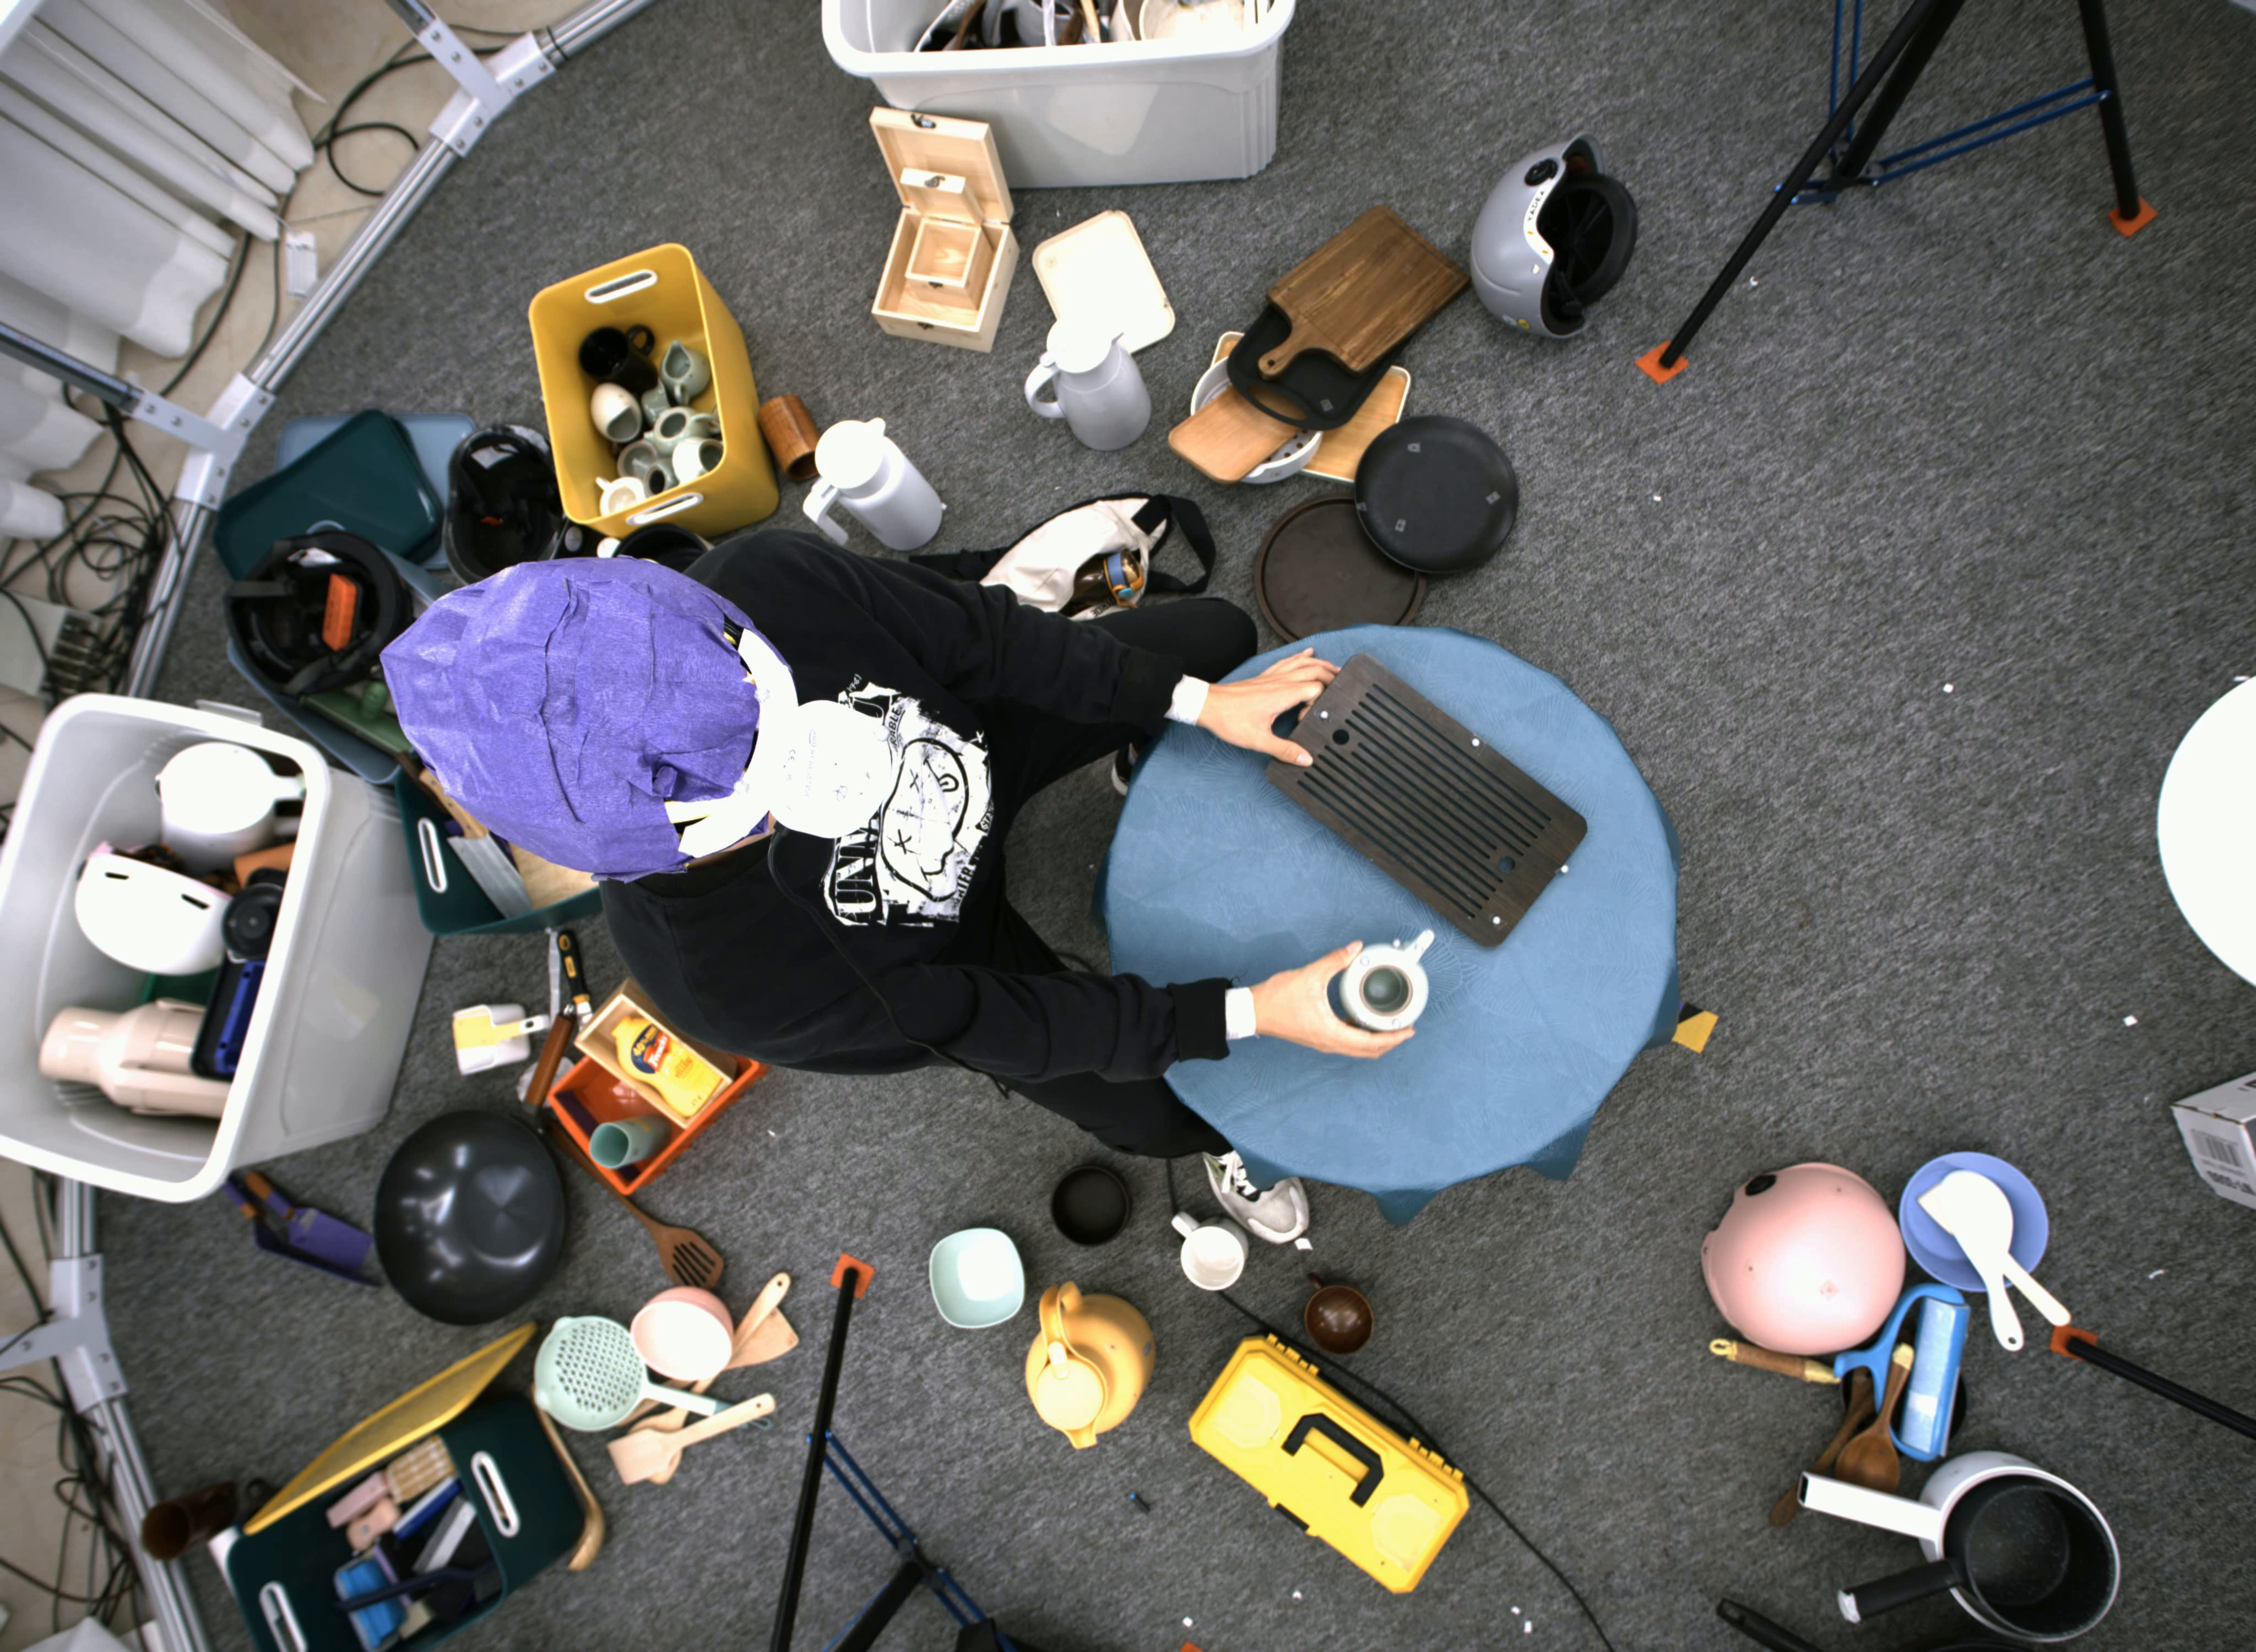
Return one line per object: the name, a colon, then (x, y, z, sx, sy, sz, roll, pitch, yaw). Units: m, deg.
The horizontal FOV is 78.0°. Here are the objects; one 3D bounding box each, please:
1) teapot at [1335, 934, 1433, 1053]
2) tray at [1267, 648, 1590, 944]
teapot: (0.251, 0.163, 1.370, 0.088, 0.075, 0.144, 40, 92, 5)
tray: (0.311, -0.033, 1.432, 0.305, 0.018, 0.171, 38, 95, 3)
